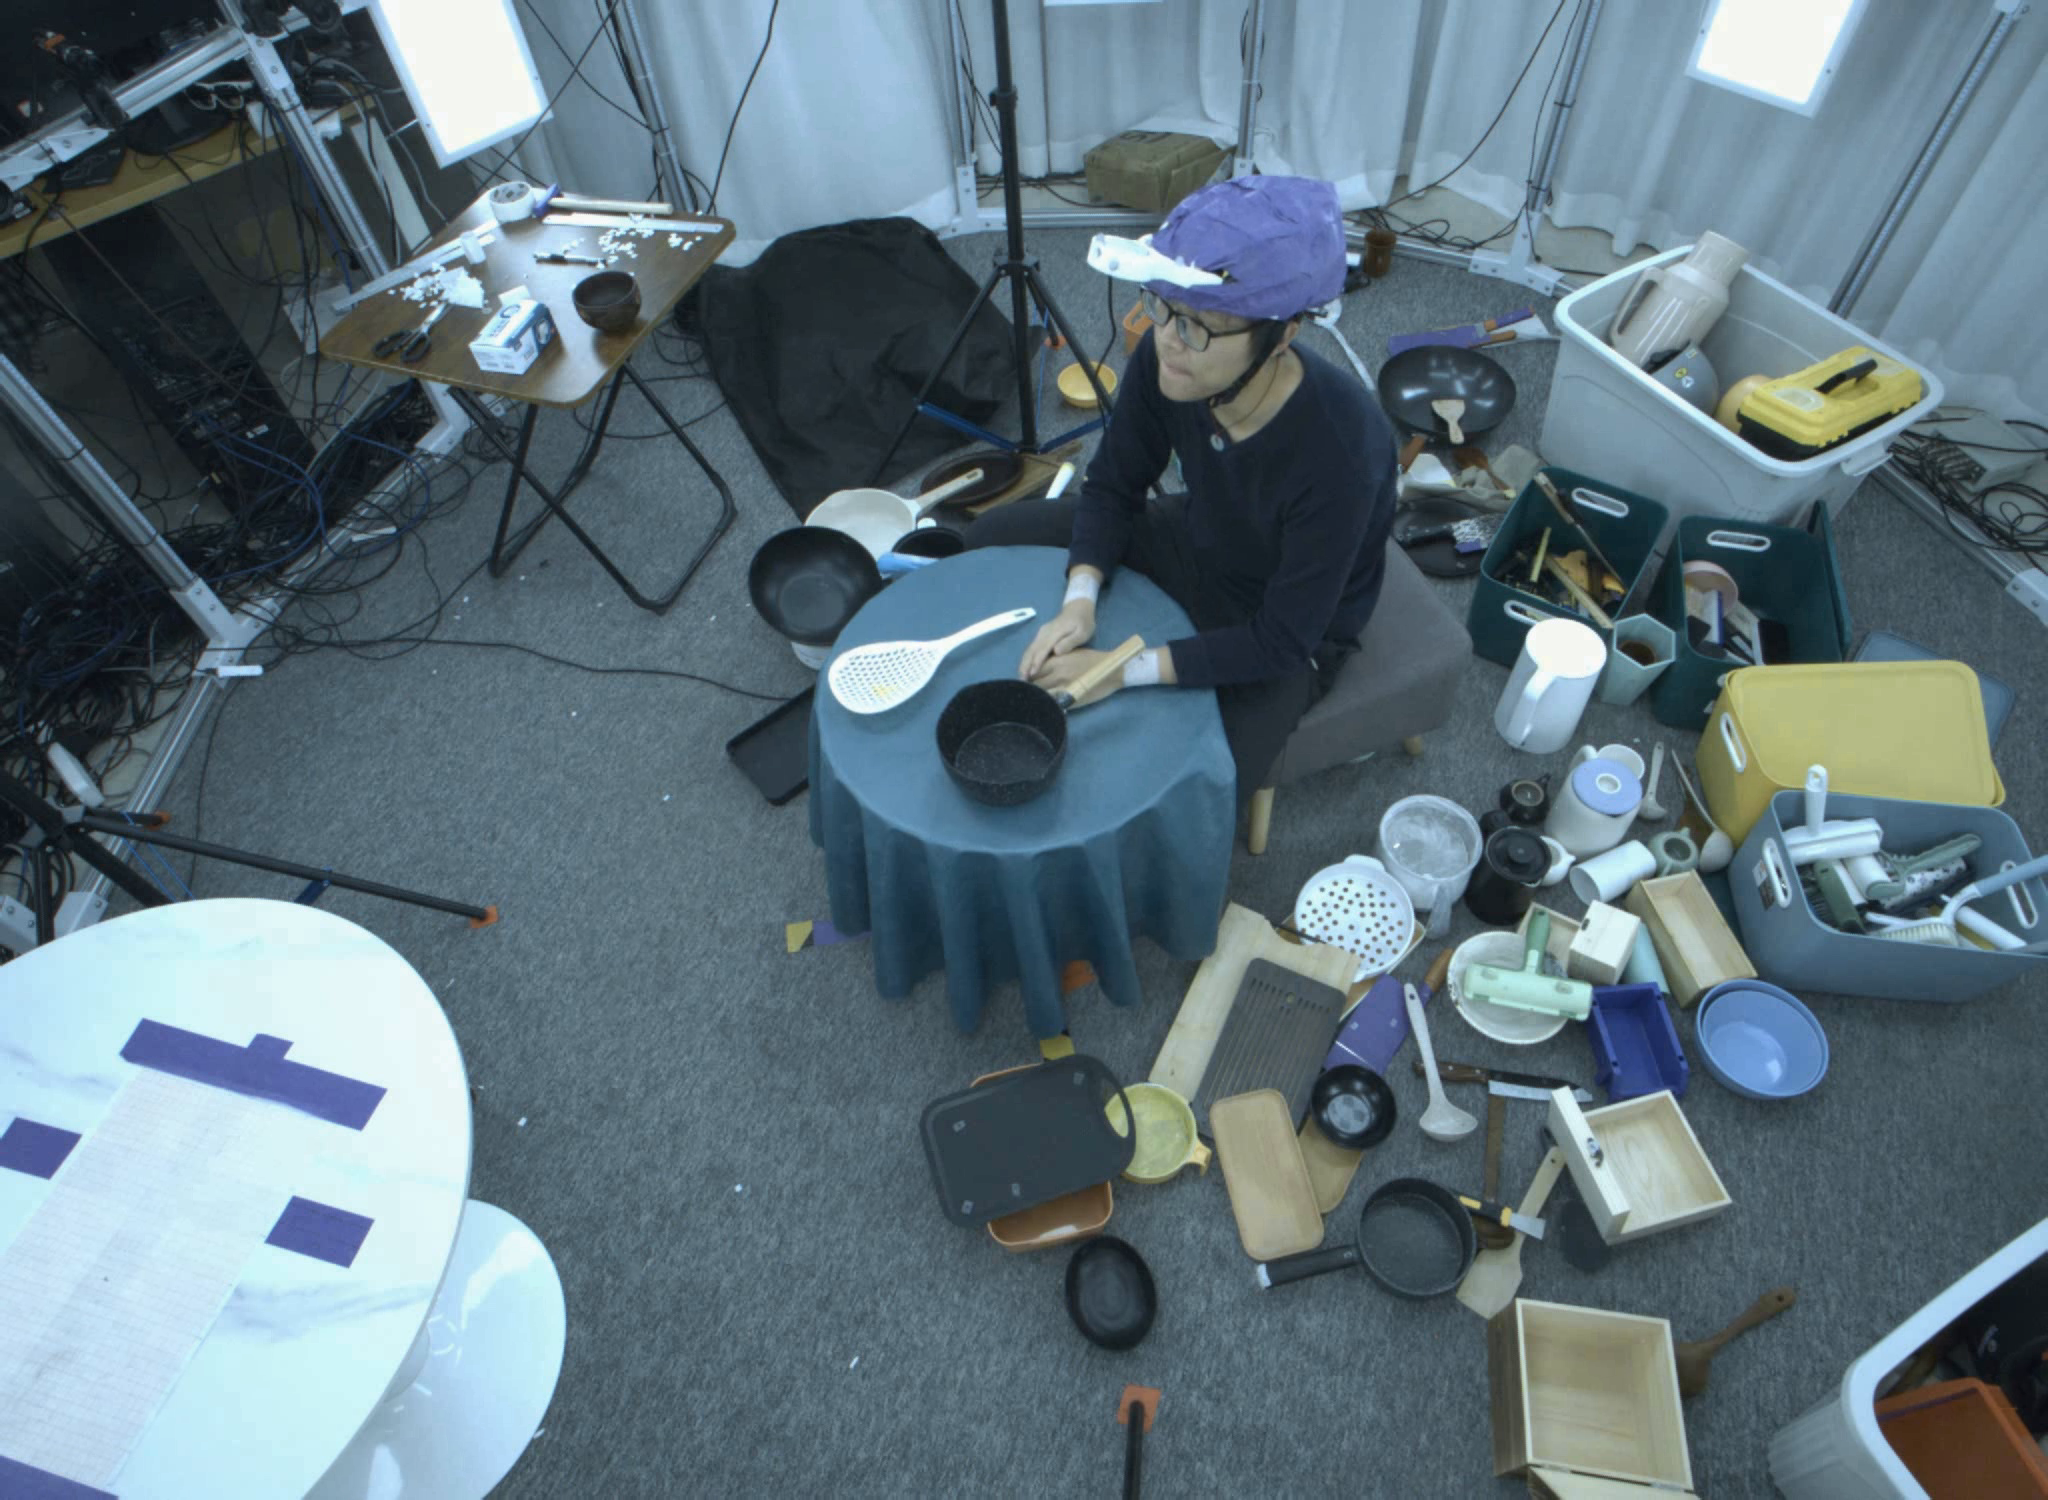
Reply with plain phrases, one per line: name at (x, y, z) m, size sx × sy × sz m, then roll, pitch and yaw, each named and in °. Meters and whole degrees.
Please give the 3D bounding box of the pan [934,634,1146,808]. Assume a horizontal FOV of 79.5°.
pan at (0.033, -0.051, 1.755) m, size 0.345 × 0.109 × 0.203 m, roll -33°, pitch 58°, yaw -18°

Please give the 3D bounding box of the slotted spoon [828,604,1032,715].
slotted spoon at (-0.132, -0.151, 1.872) m, size 0.350 × 0.051 × 0.134 m, roll -30°, pitch 58°, yaw -16°
